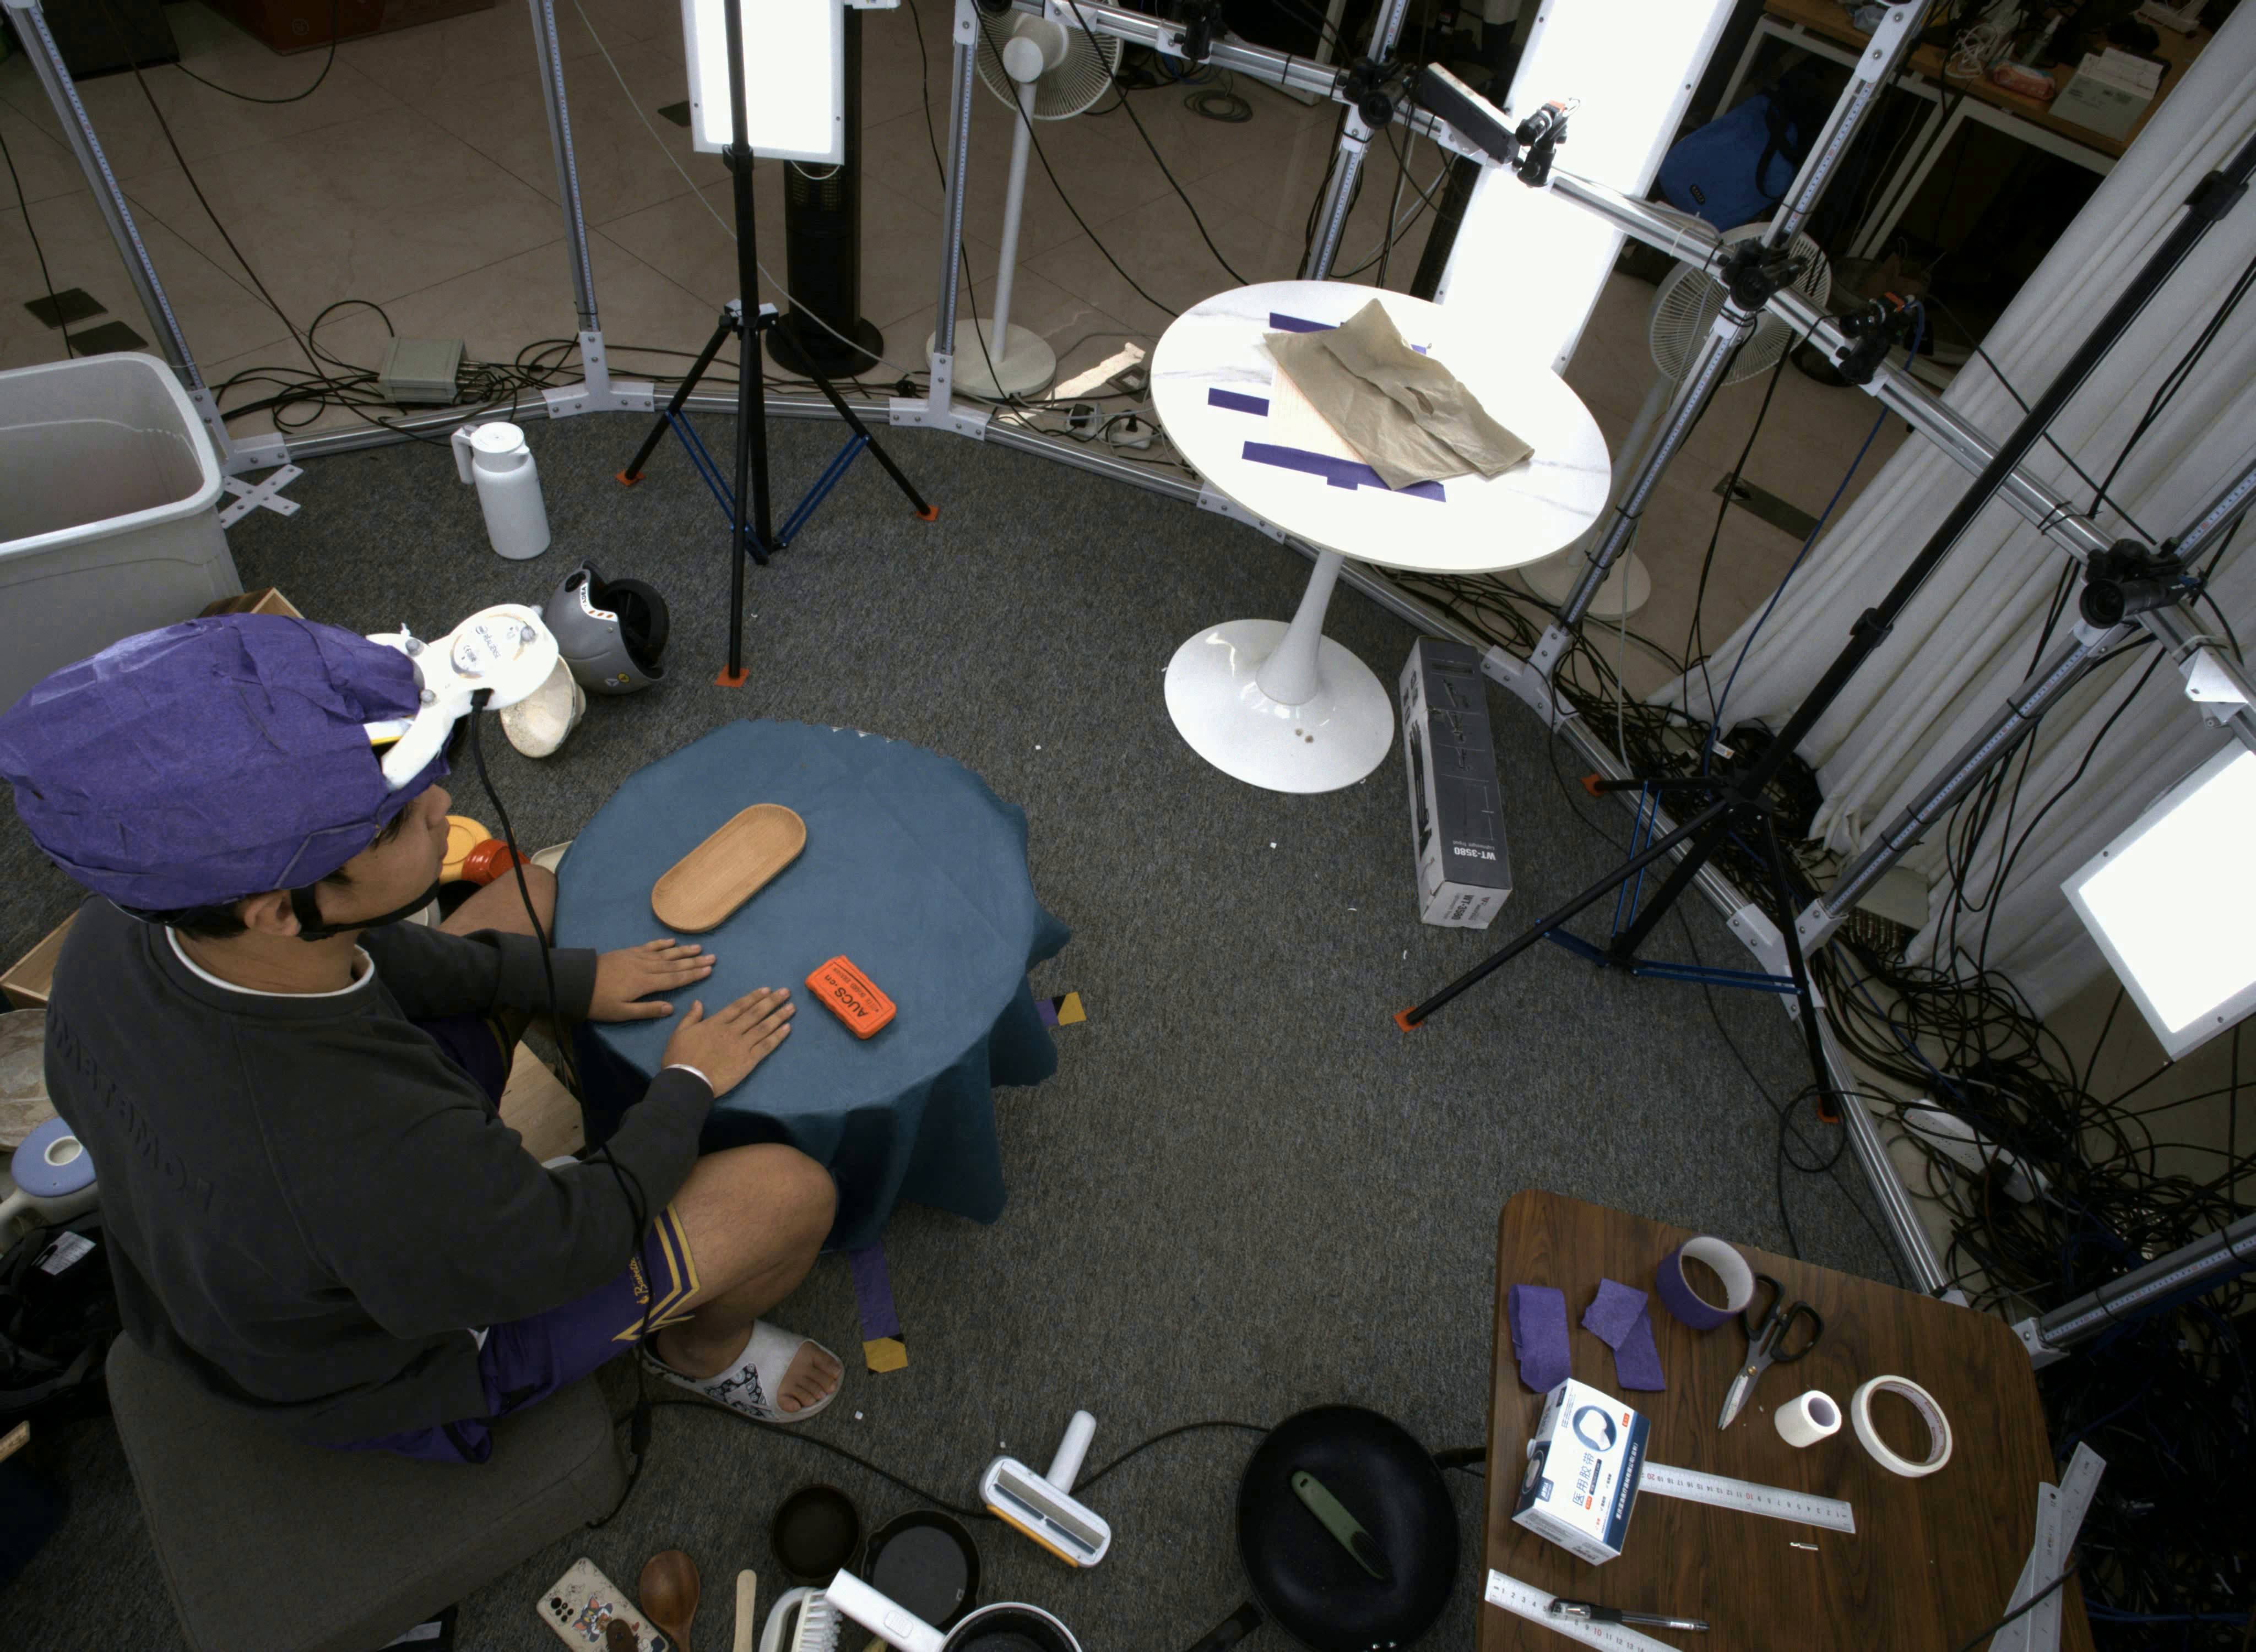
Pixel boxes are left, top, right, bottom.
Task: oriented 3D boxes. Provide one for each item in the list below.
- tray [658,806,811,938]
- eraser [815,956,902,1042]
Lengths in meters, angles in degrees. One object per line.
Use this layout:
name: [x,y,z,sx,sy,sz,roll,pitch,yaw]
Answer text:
tray: [-0.503,0.055,1.657,0.100,0.021,0.231,33,54,12]
eraser: [-0.330,0.207,1.583,0.106,0.023,0.059,41,48,17]
